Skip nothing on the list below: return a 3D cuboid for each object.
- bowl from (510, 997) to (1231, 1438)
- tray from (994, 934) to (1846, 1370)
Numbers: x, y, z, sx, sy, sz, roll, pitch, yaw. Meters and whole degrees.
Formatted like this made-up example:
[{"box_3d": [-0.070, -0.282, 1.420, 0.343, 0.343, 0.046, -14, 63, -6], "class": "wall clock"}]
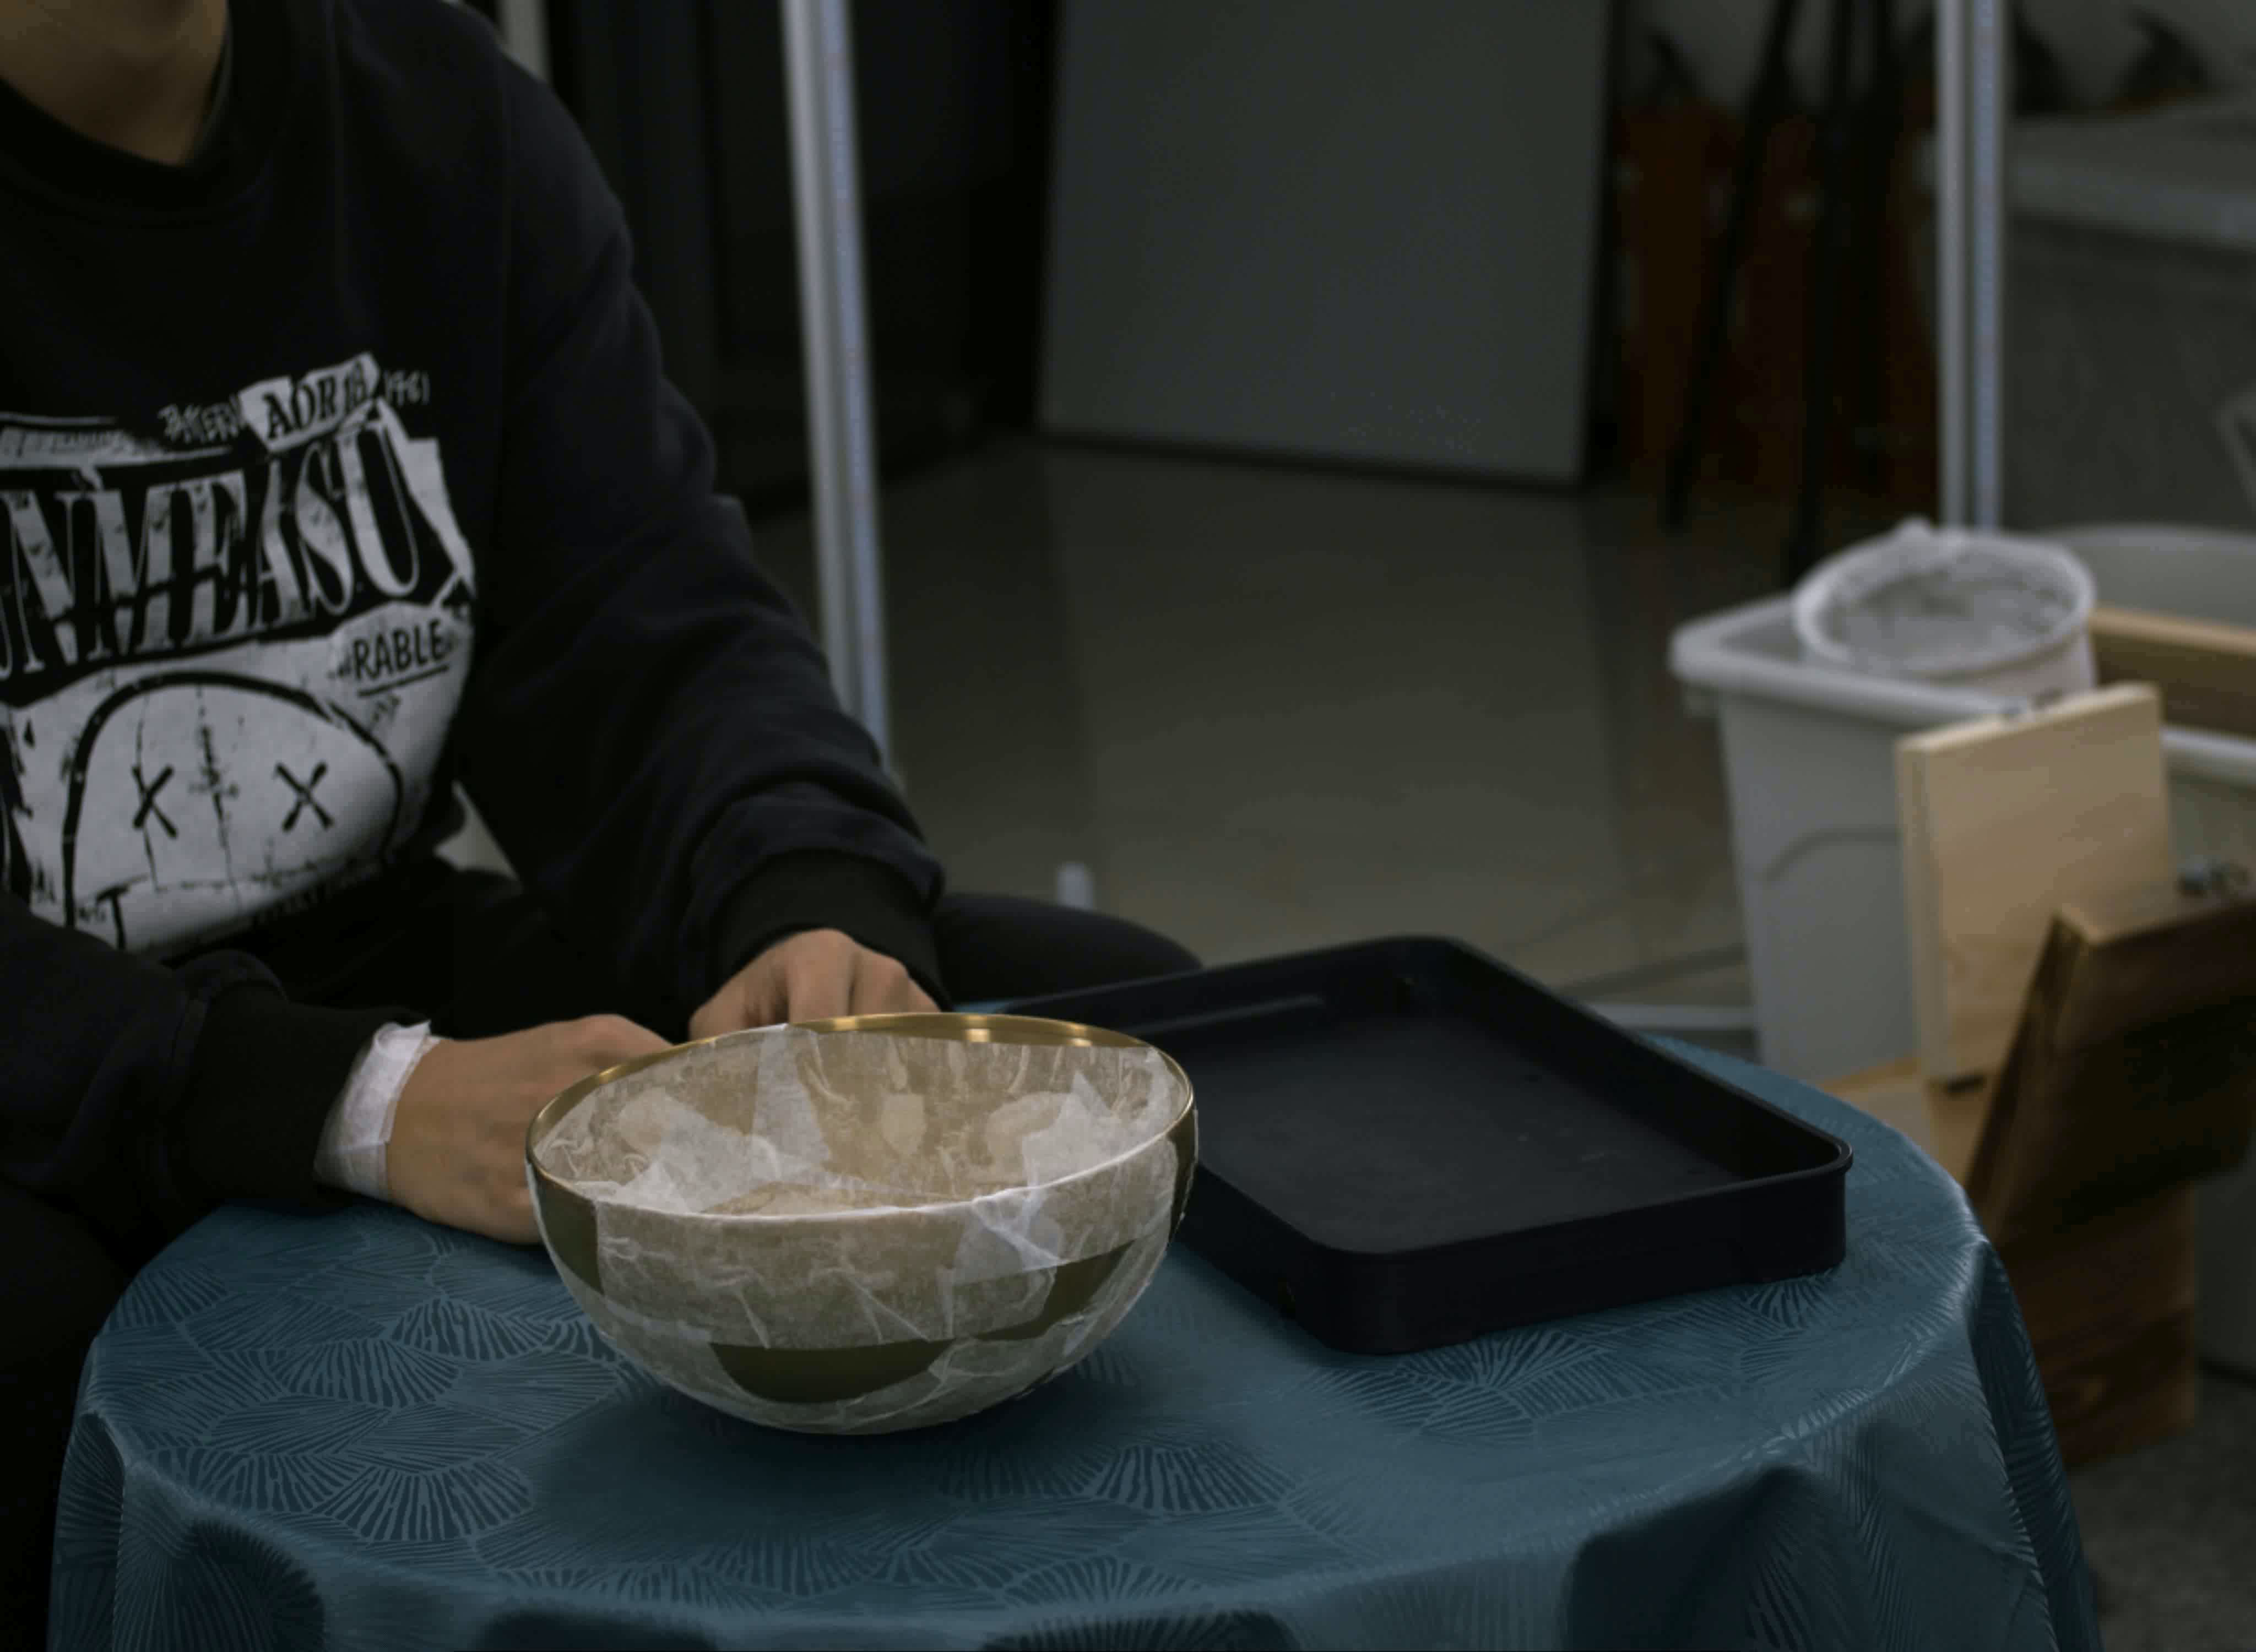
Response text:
[{"box_3d": [-0.073, 0.123, 1.589, 0.212, 0.095, 0.215, -5, 14, 0], "class": "bowl"}, {"box_3d": [0.088, 0.101, 1.761, 0.180, 0.037, 0.321, -8, 16, -19], "class": "tray"}]
